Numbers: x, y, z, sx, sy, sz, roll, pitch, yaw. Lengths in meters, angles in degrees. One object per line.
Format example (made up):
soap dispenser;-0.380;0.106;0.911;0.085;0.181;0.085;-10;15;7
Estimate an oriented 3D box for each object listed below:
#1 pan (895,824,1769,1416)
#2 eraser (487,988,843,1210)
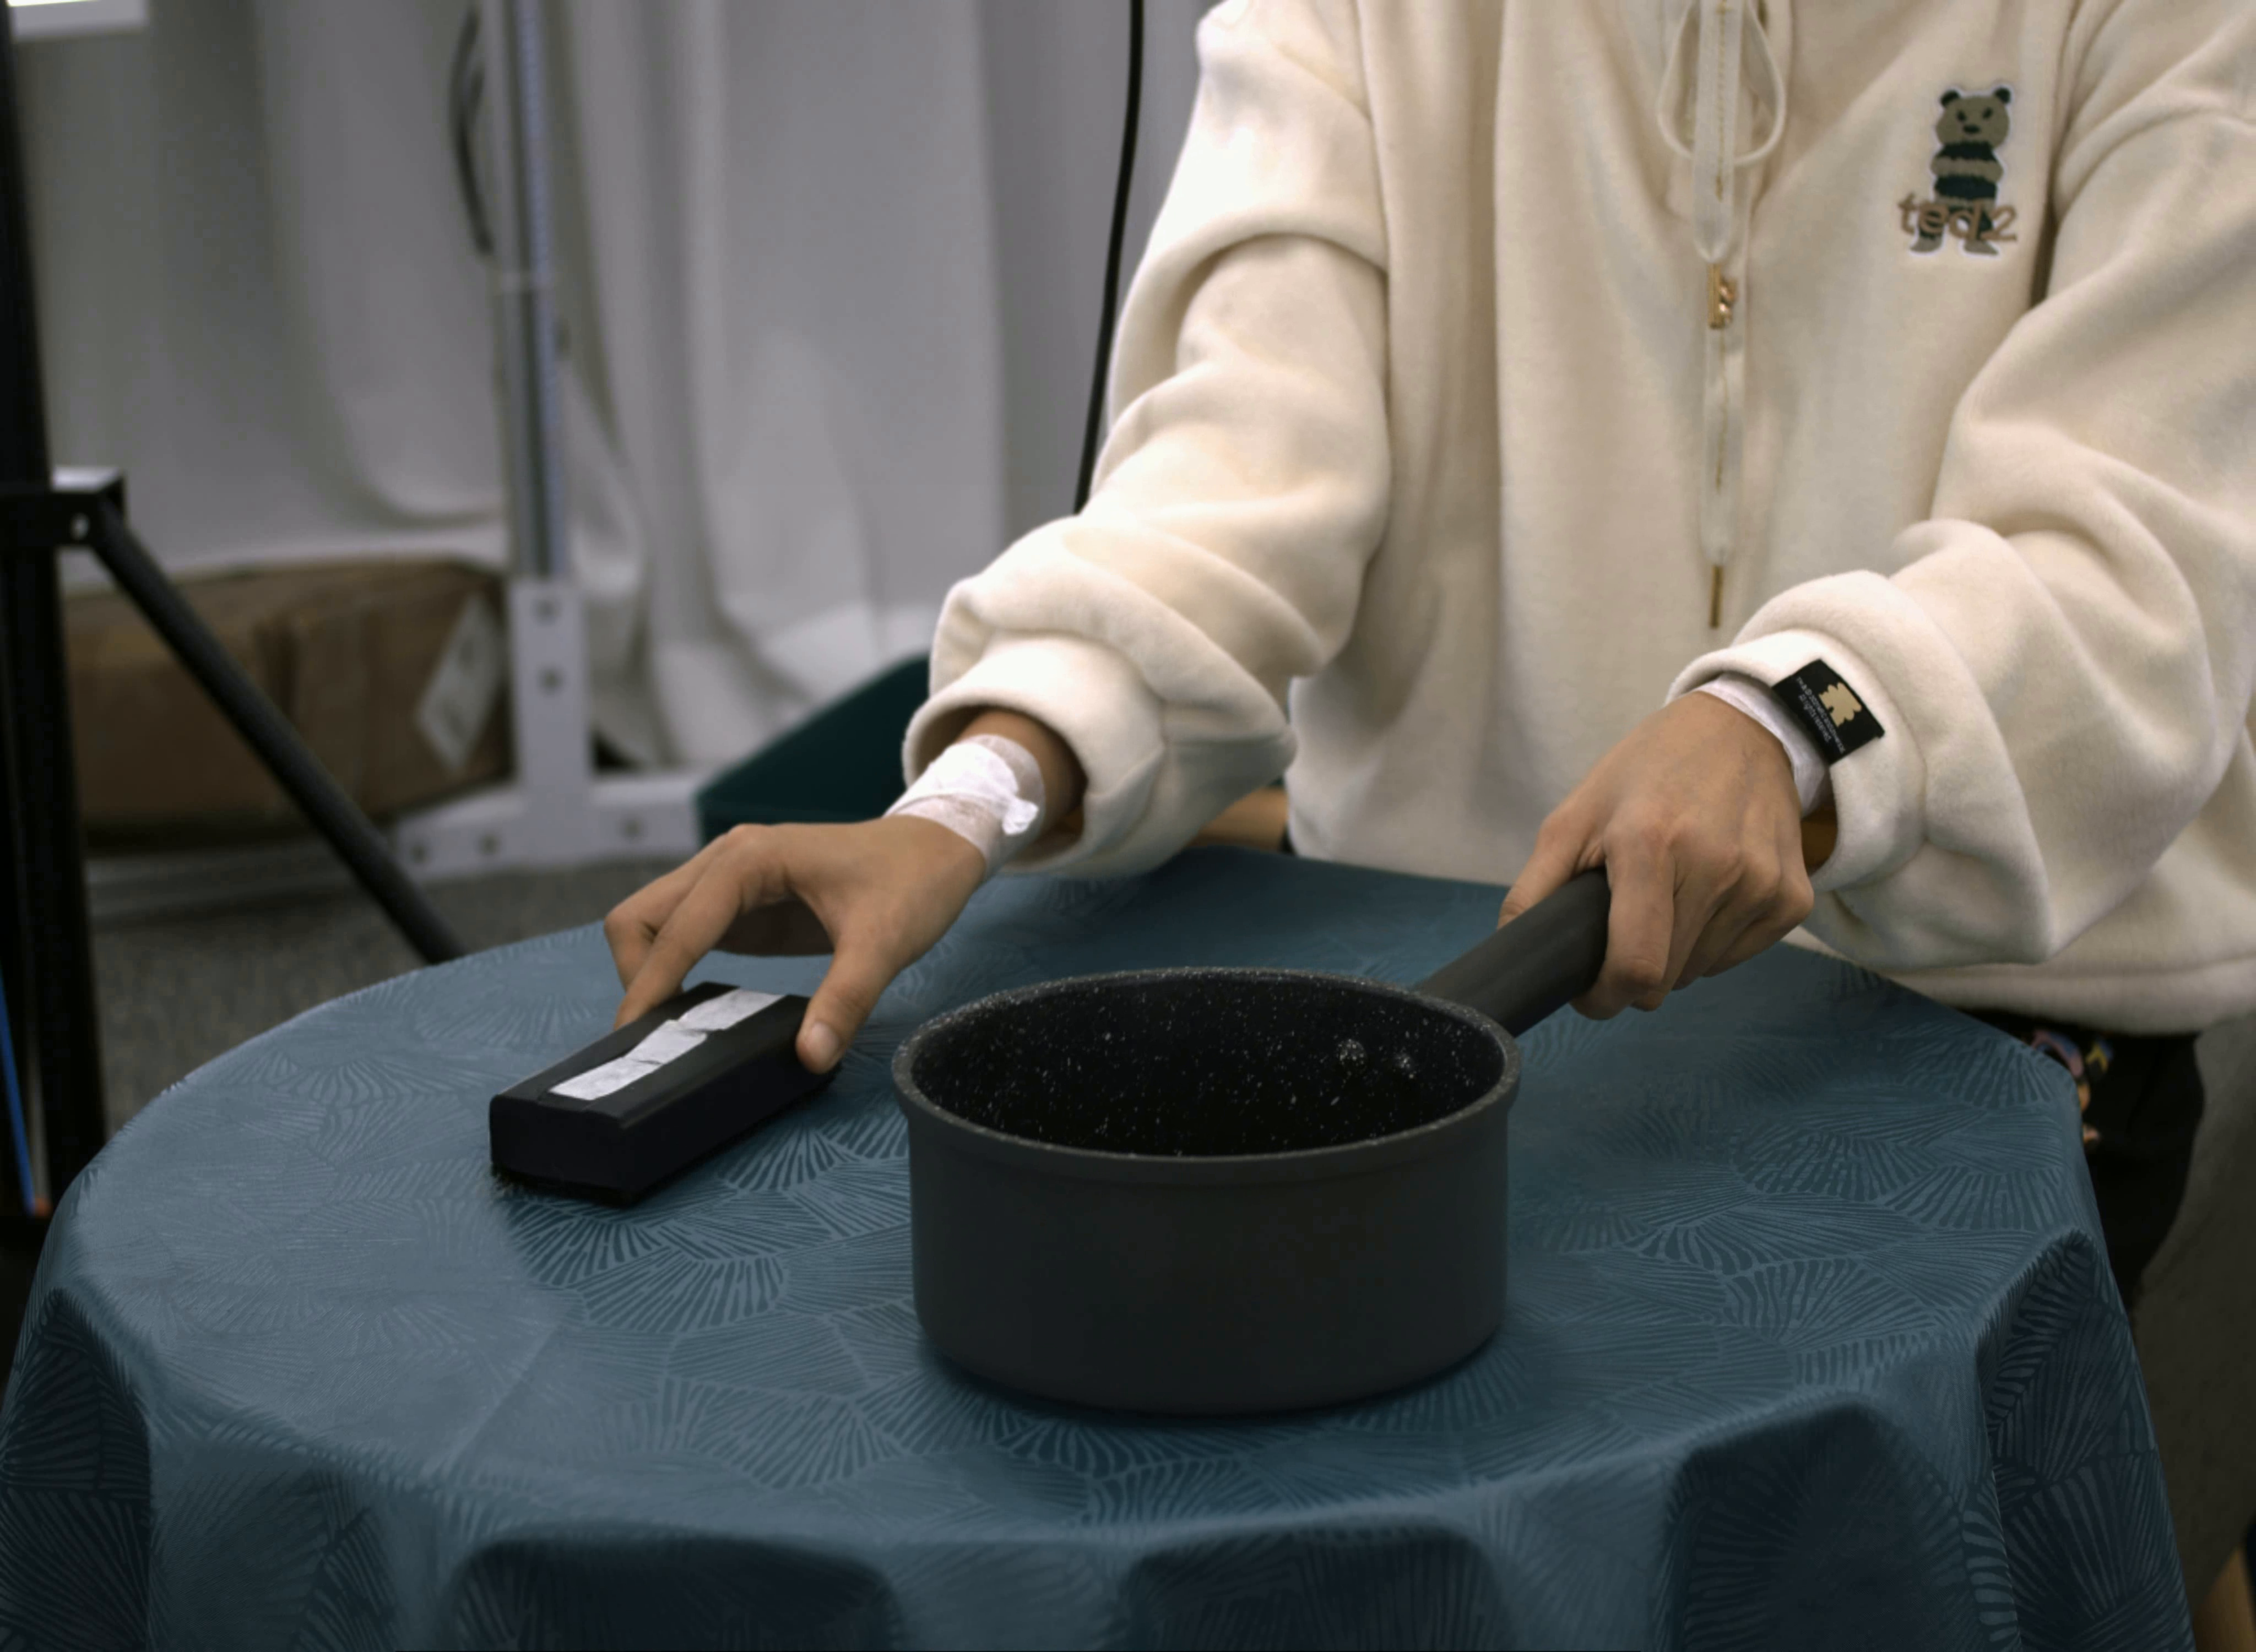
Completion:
pan;0.074;0.078;1.496;0.176;0.086;0.321;13;22;40
eraser;-0.140;0.082;1.621;0.054;0.030;0.123;10;18;26
